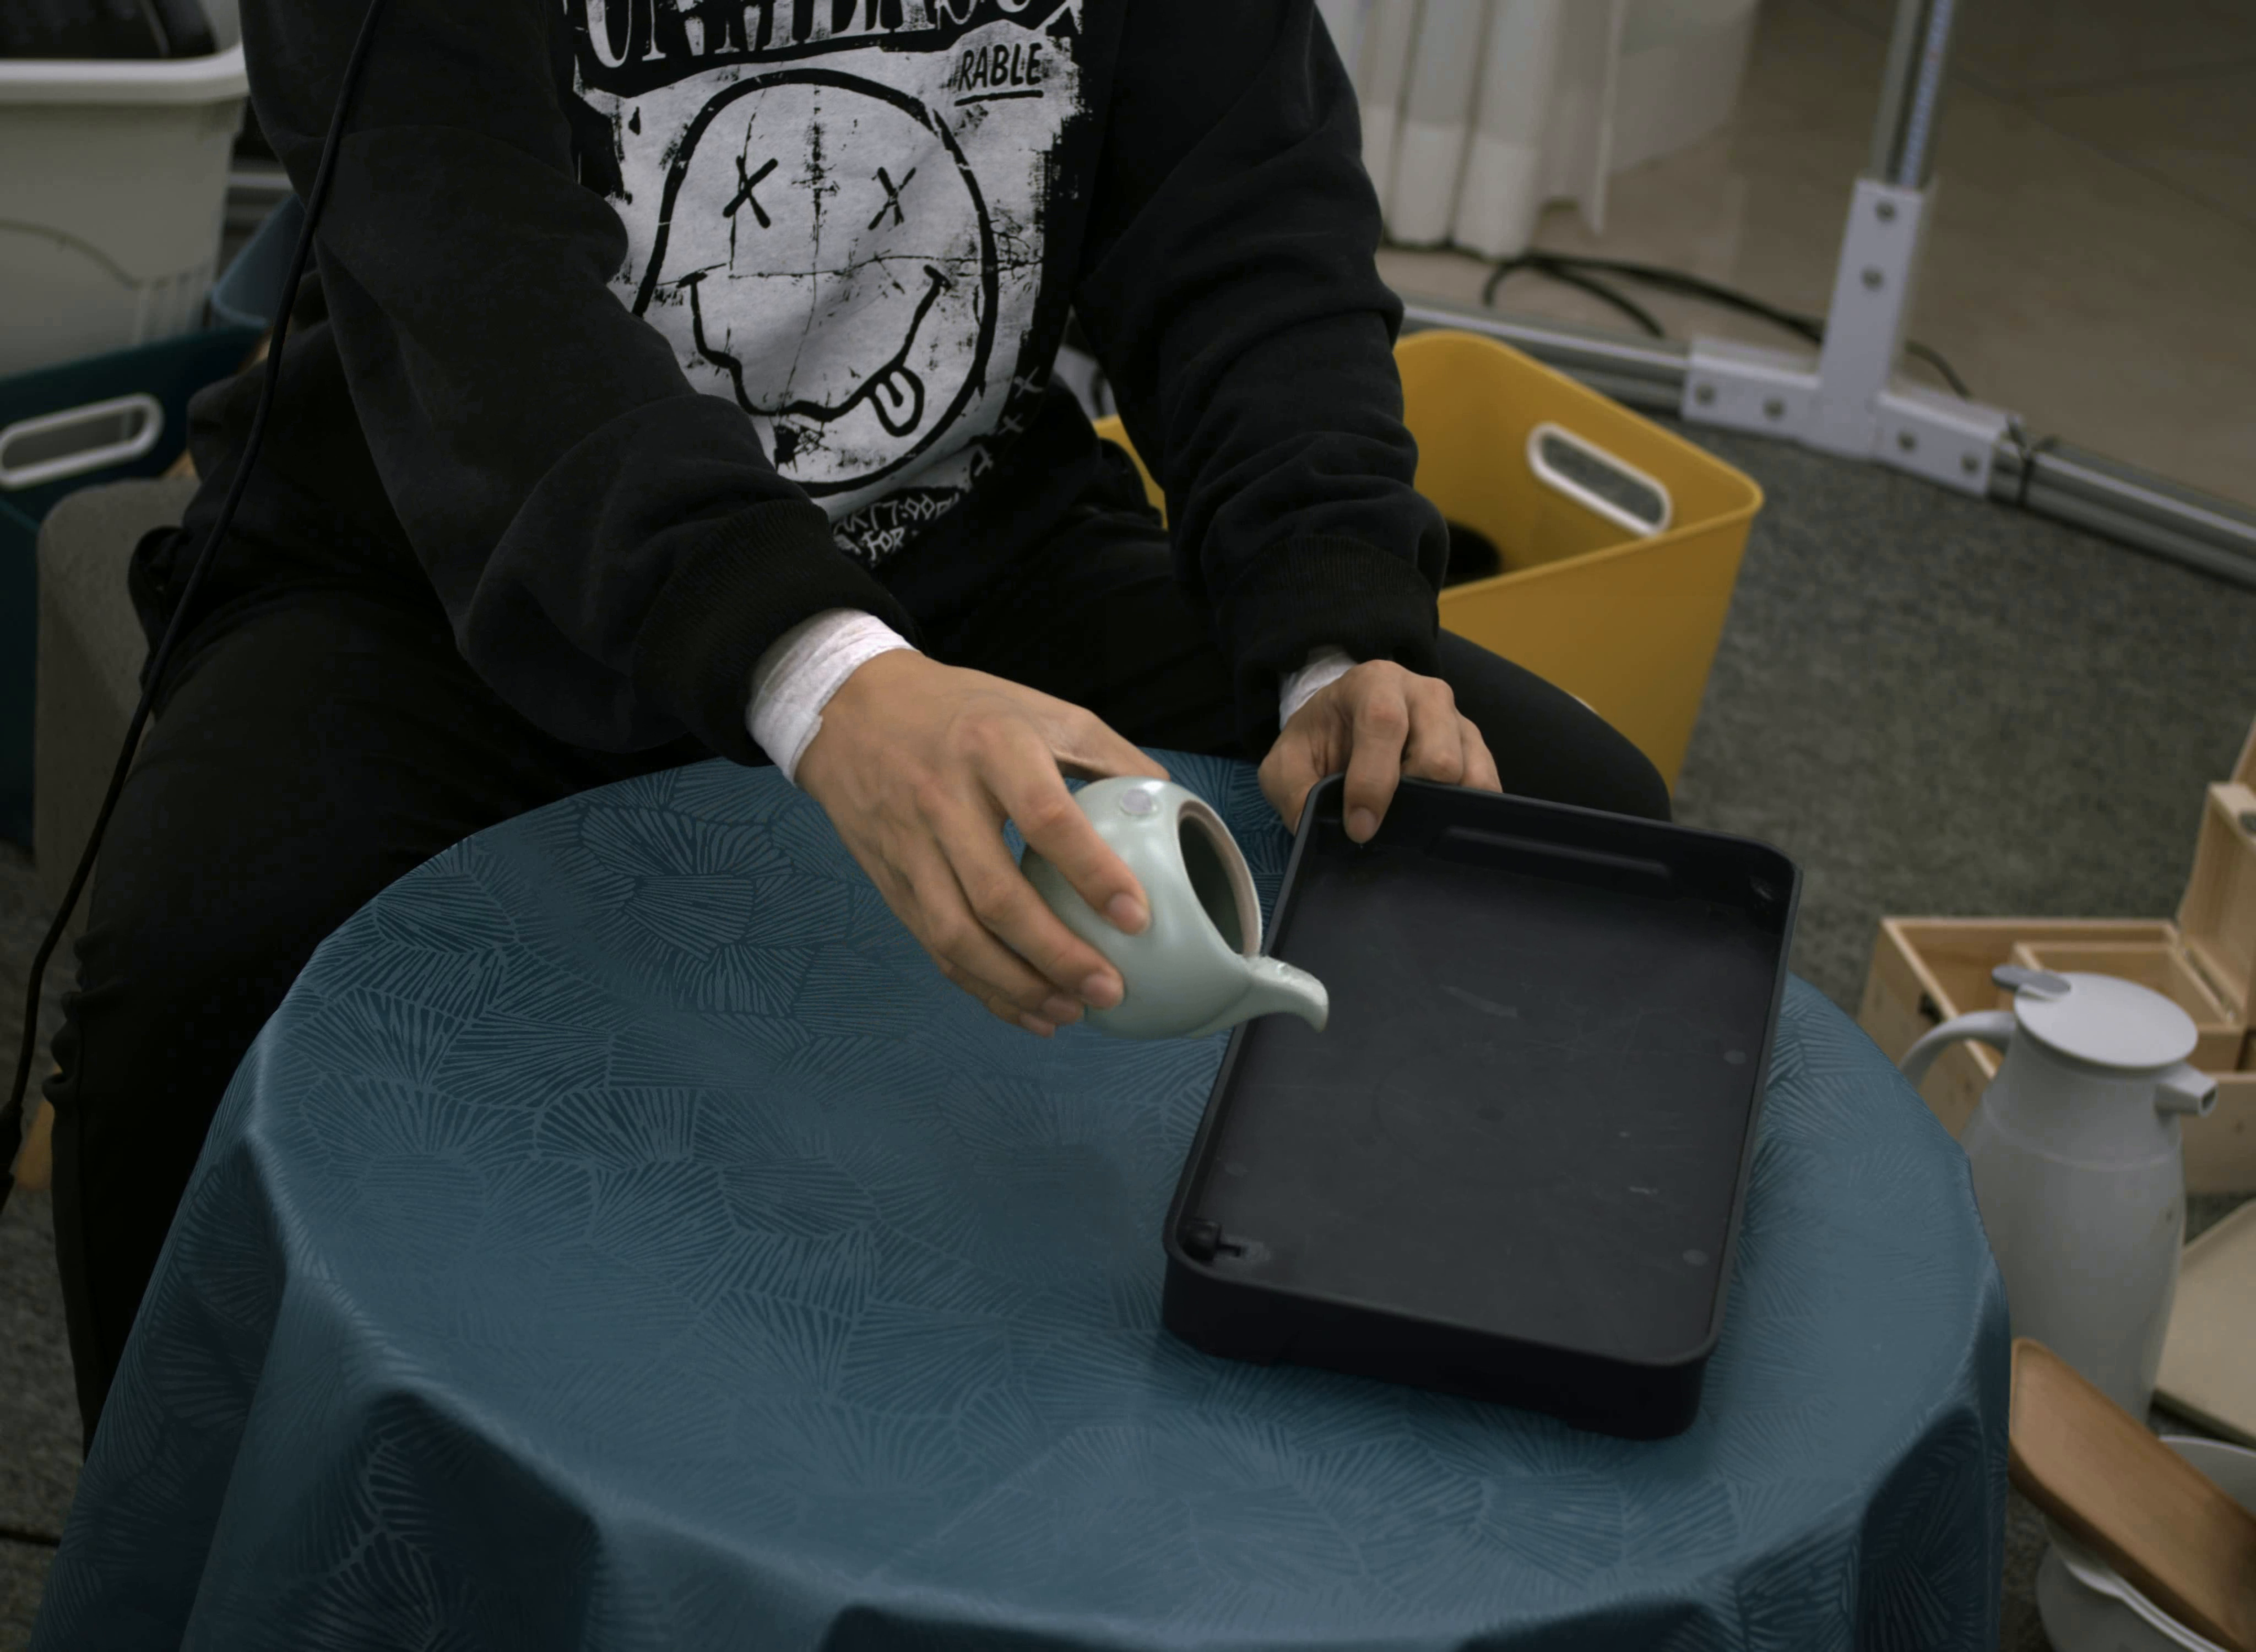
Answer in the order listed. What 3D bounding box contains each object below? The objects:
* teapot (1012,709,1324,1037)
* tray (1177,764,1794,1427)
[{"bbox_3d":[0.003,0.025,1.749,0.075,0.143,0.089,-22,29,20],"label":"teapot"},{"bbox_3d":[0.127,0.085,1.833,0.184,0.037,0.319,8,33,6],"label":"tray"}]
